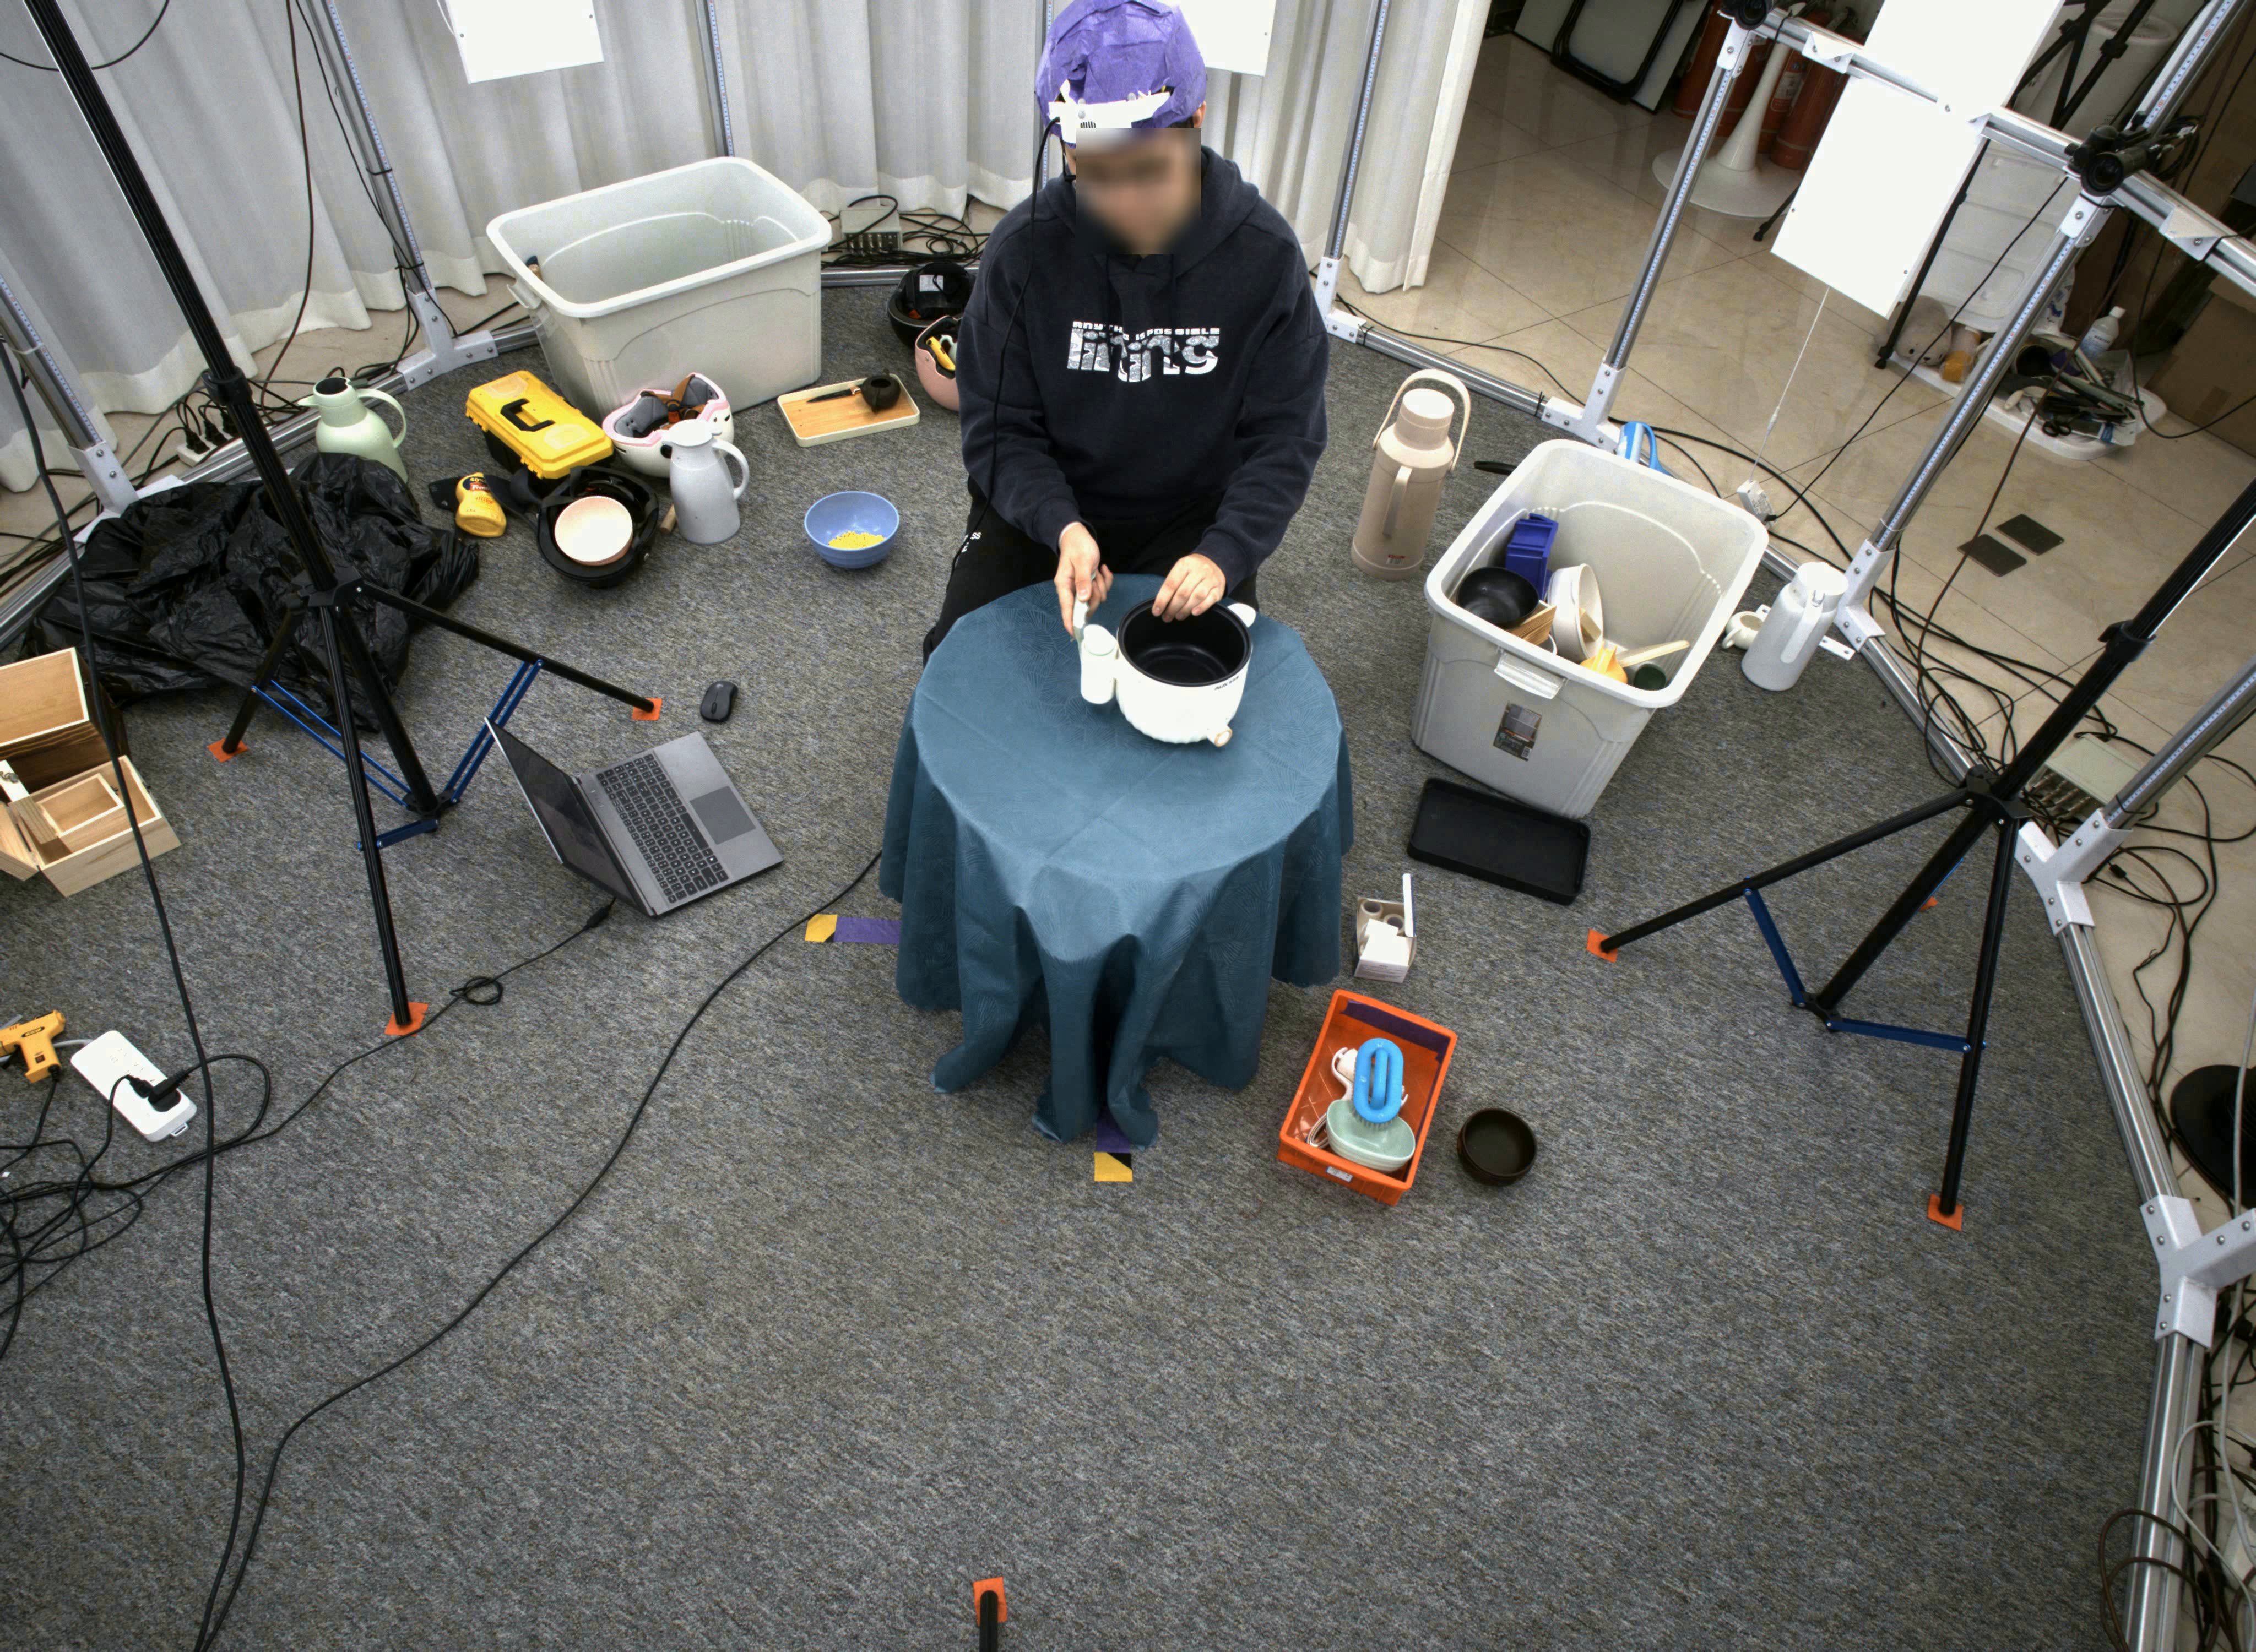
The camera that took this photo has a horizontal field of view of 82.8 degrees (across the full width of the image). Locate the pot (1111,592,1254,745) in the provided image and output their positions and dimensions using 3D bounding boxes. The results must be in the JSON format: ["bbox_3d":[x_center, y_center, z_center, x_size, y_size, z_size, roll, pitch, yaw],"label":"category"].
[{"bbox_3d":[0.077,-0.208,1.762,0.242,0.139,0.194,-30,54,-25],"label":"pot"}]

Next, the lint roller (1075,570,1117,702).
[{"bbox_3d":[-0.049,-0.279,1.776,0.048,0.114,0.202,-8,58,-3],"label":"lint roller"}]
